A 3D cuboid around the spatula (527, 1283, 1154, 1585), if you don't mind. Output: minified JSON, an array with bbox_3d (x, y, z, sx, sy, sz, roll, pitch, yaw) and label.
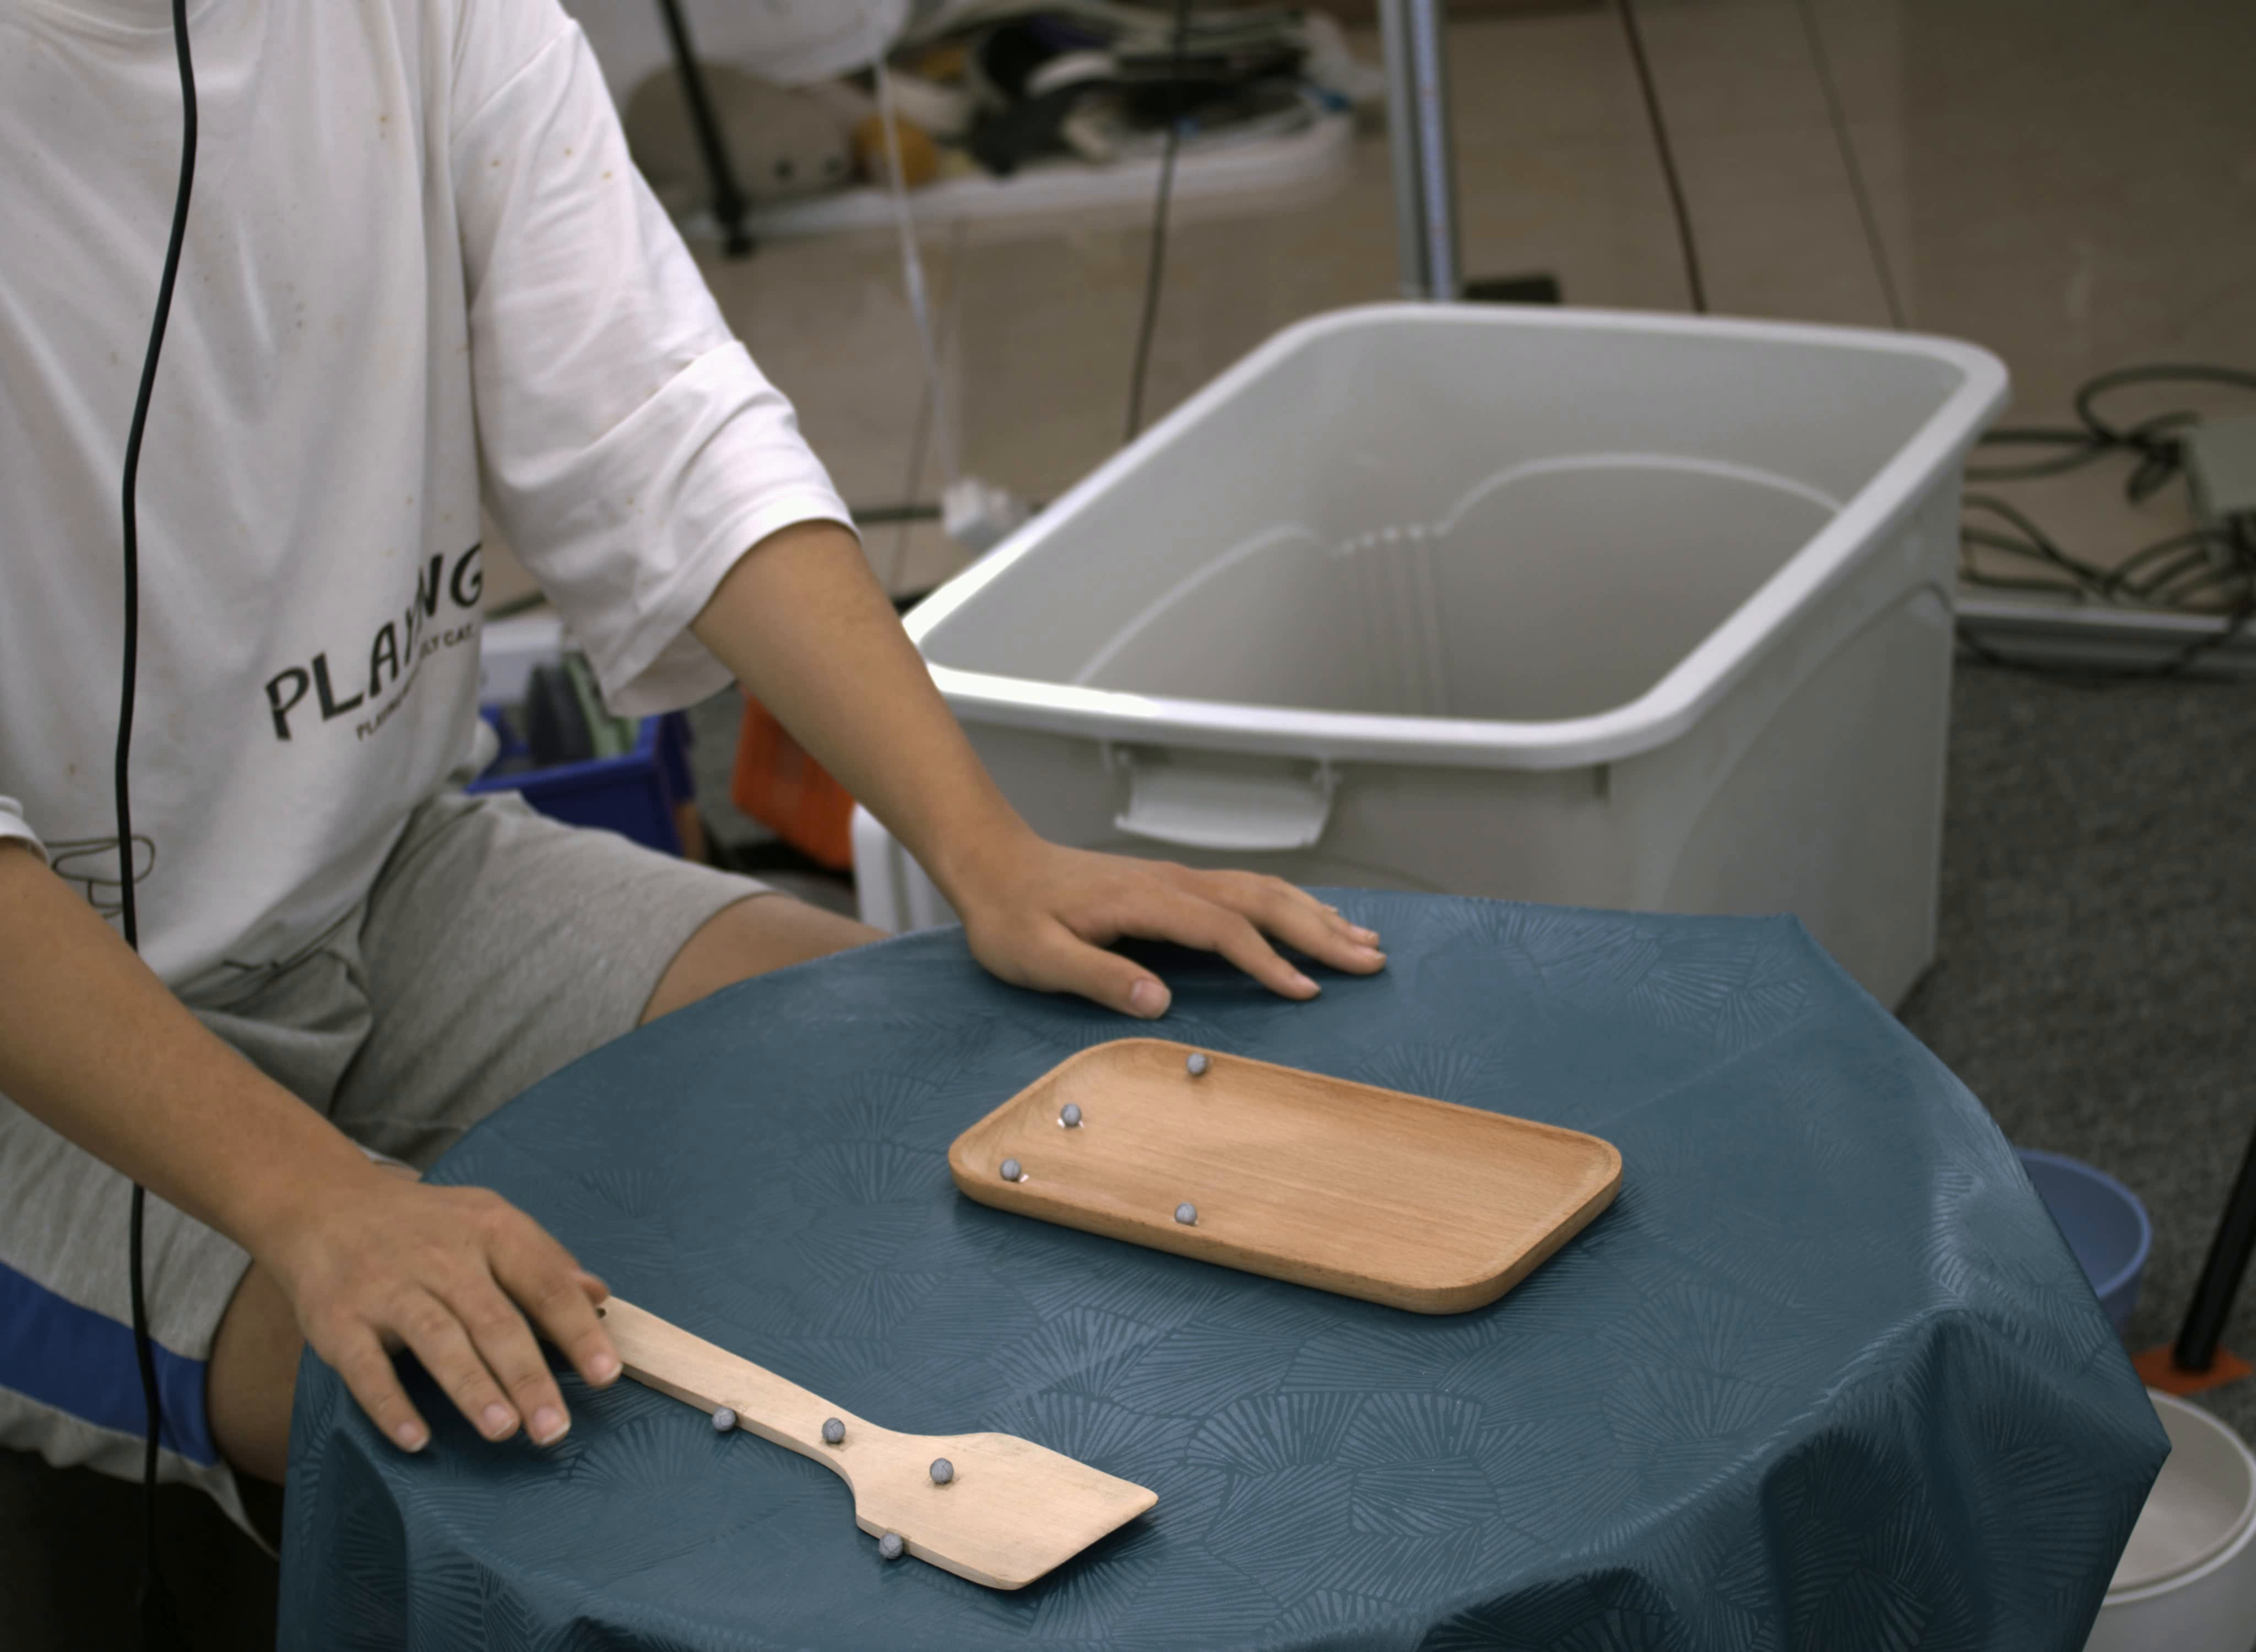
[{"bbox_3d":[-0.115,0.210,2.010,0.291,0.011,0.071,18,35,42],"label":"spatula"}]

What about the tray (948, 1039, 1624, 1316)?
[{"bbox_3d":[0.058,0.130,2.130,0.249,0.023,0.129,13,33,35],"label":"tray"}]
